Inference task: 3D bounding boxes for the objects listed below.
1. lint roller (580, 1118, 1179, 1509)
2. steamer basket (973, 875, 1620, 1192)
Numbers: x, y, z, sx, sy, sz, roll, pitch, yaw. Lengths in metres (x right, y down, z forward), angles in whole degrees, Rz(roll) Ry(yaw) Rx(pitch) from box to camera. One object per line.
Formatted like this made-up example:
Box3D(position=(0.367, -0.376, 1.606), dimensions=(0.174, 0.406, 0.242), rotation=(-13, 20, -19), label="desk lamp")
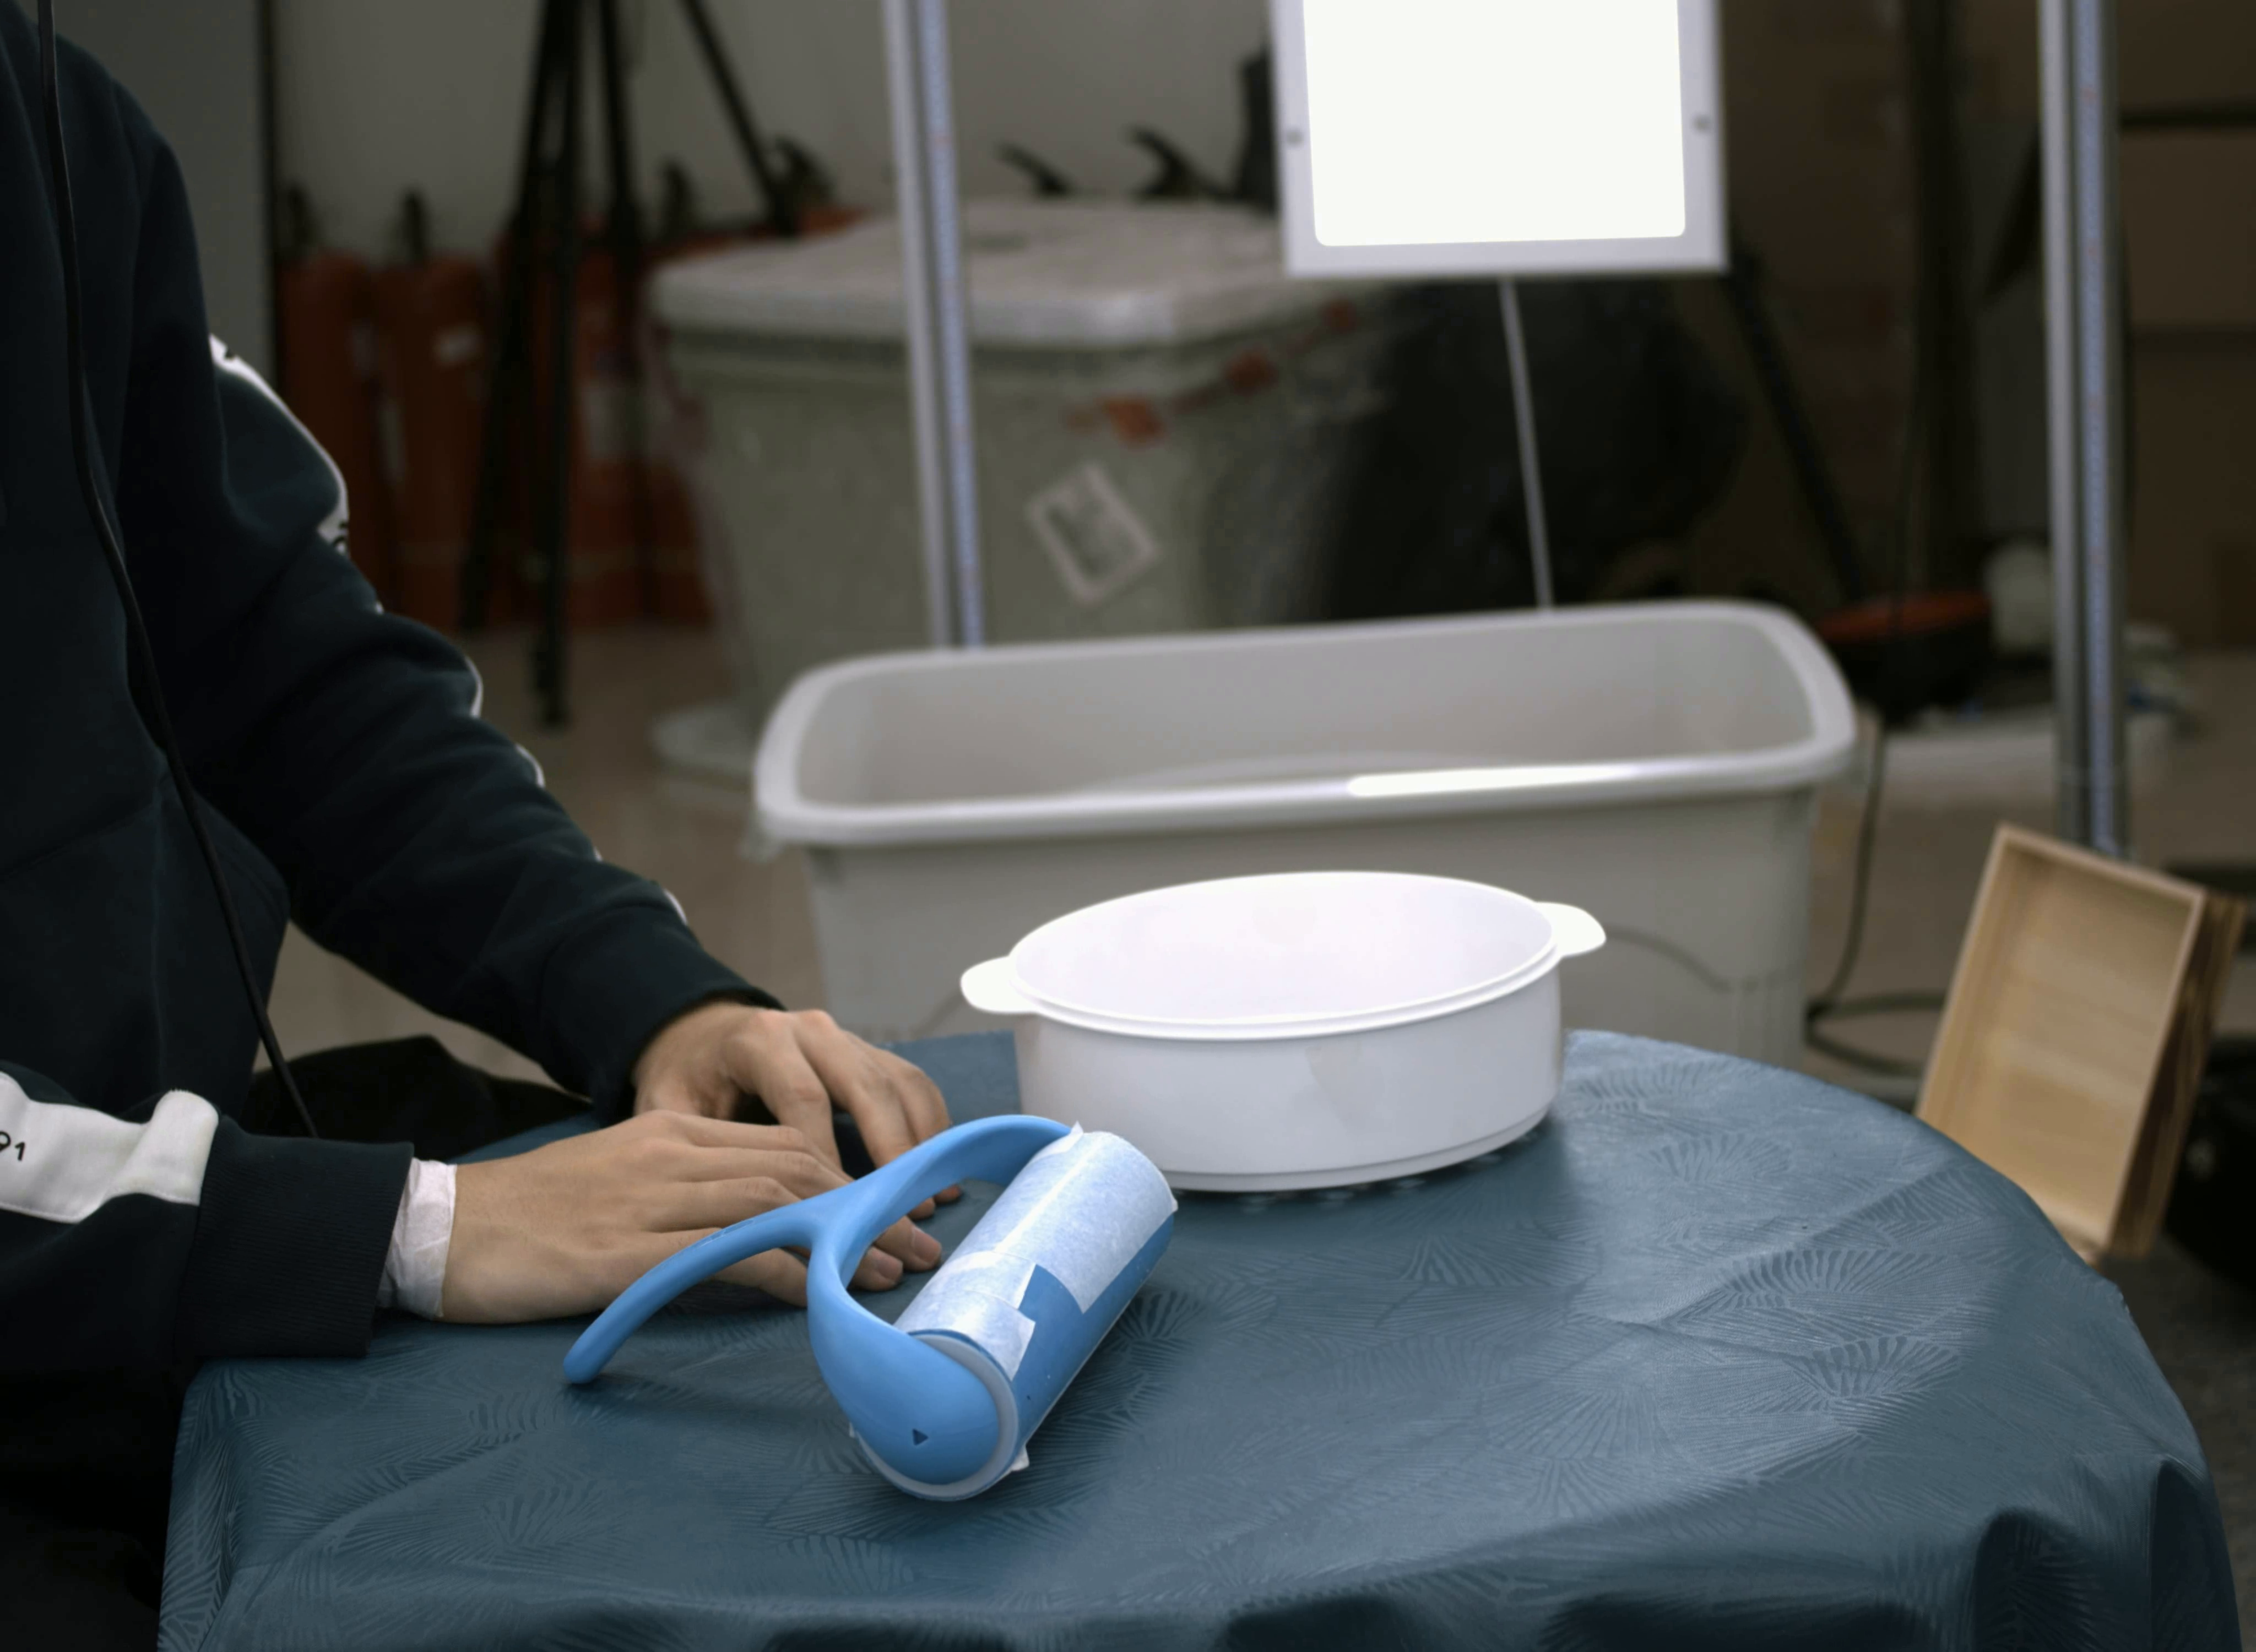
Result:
Box3D(position=(-0.087, 0.150, 1.717), dimensions=(0.181, 0.068, 0.226), rotation=(-1, 16, 11), label="lint roller")
Box3D(position=(0.062, 0.074, 1.946), dimensions=(0.229, 0.069, 0.202), rotation=(-7, 13, -4), label="steamer basket")
